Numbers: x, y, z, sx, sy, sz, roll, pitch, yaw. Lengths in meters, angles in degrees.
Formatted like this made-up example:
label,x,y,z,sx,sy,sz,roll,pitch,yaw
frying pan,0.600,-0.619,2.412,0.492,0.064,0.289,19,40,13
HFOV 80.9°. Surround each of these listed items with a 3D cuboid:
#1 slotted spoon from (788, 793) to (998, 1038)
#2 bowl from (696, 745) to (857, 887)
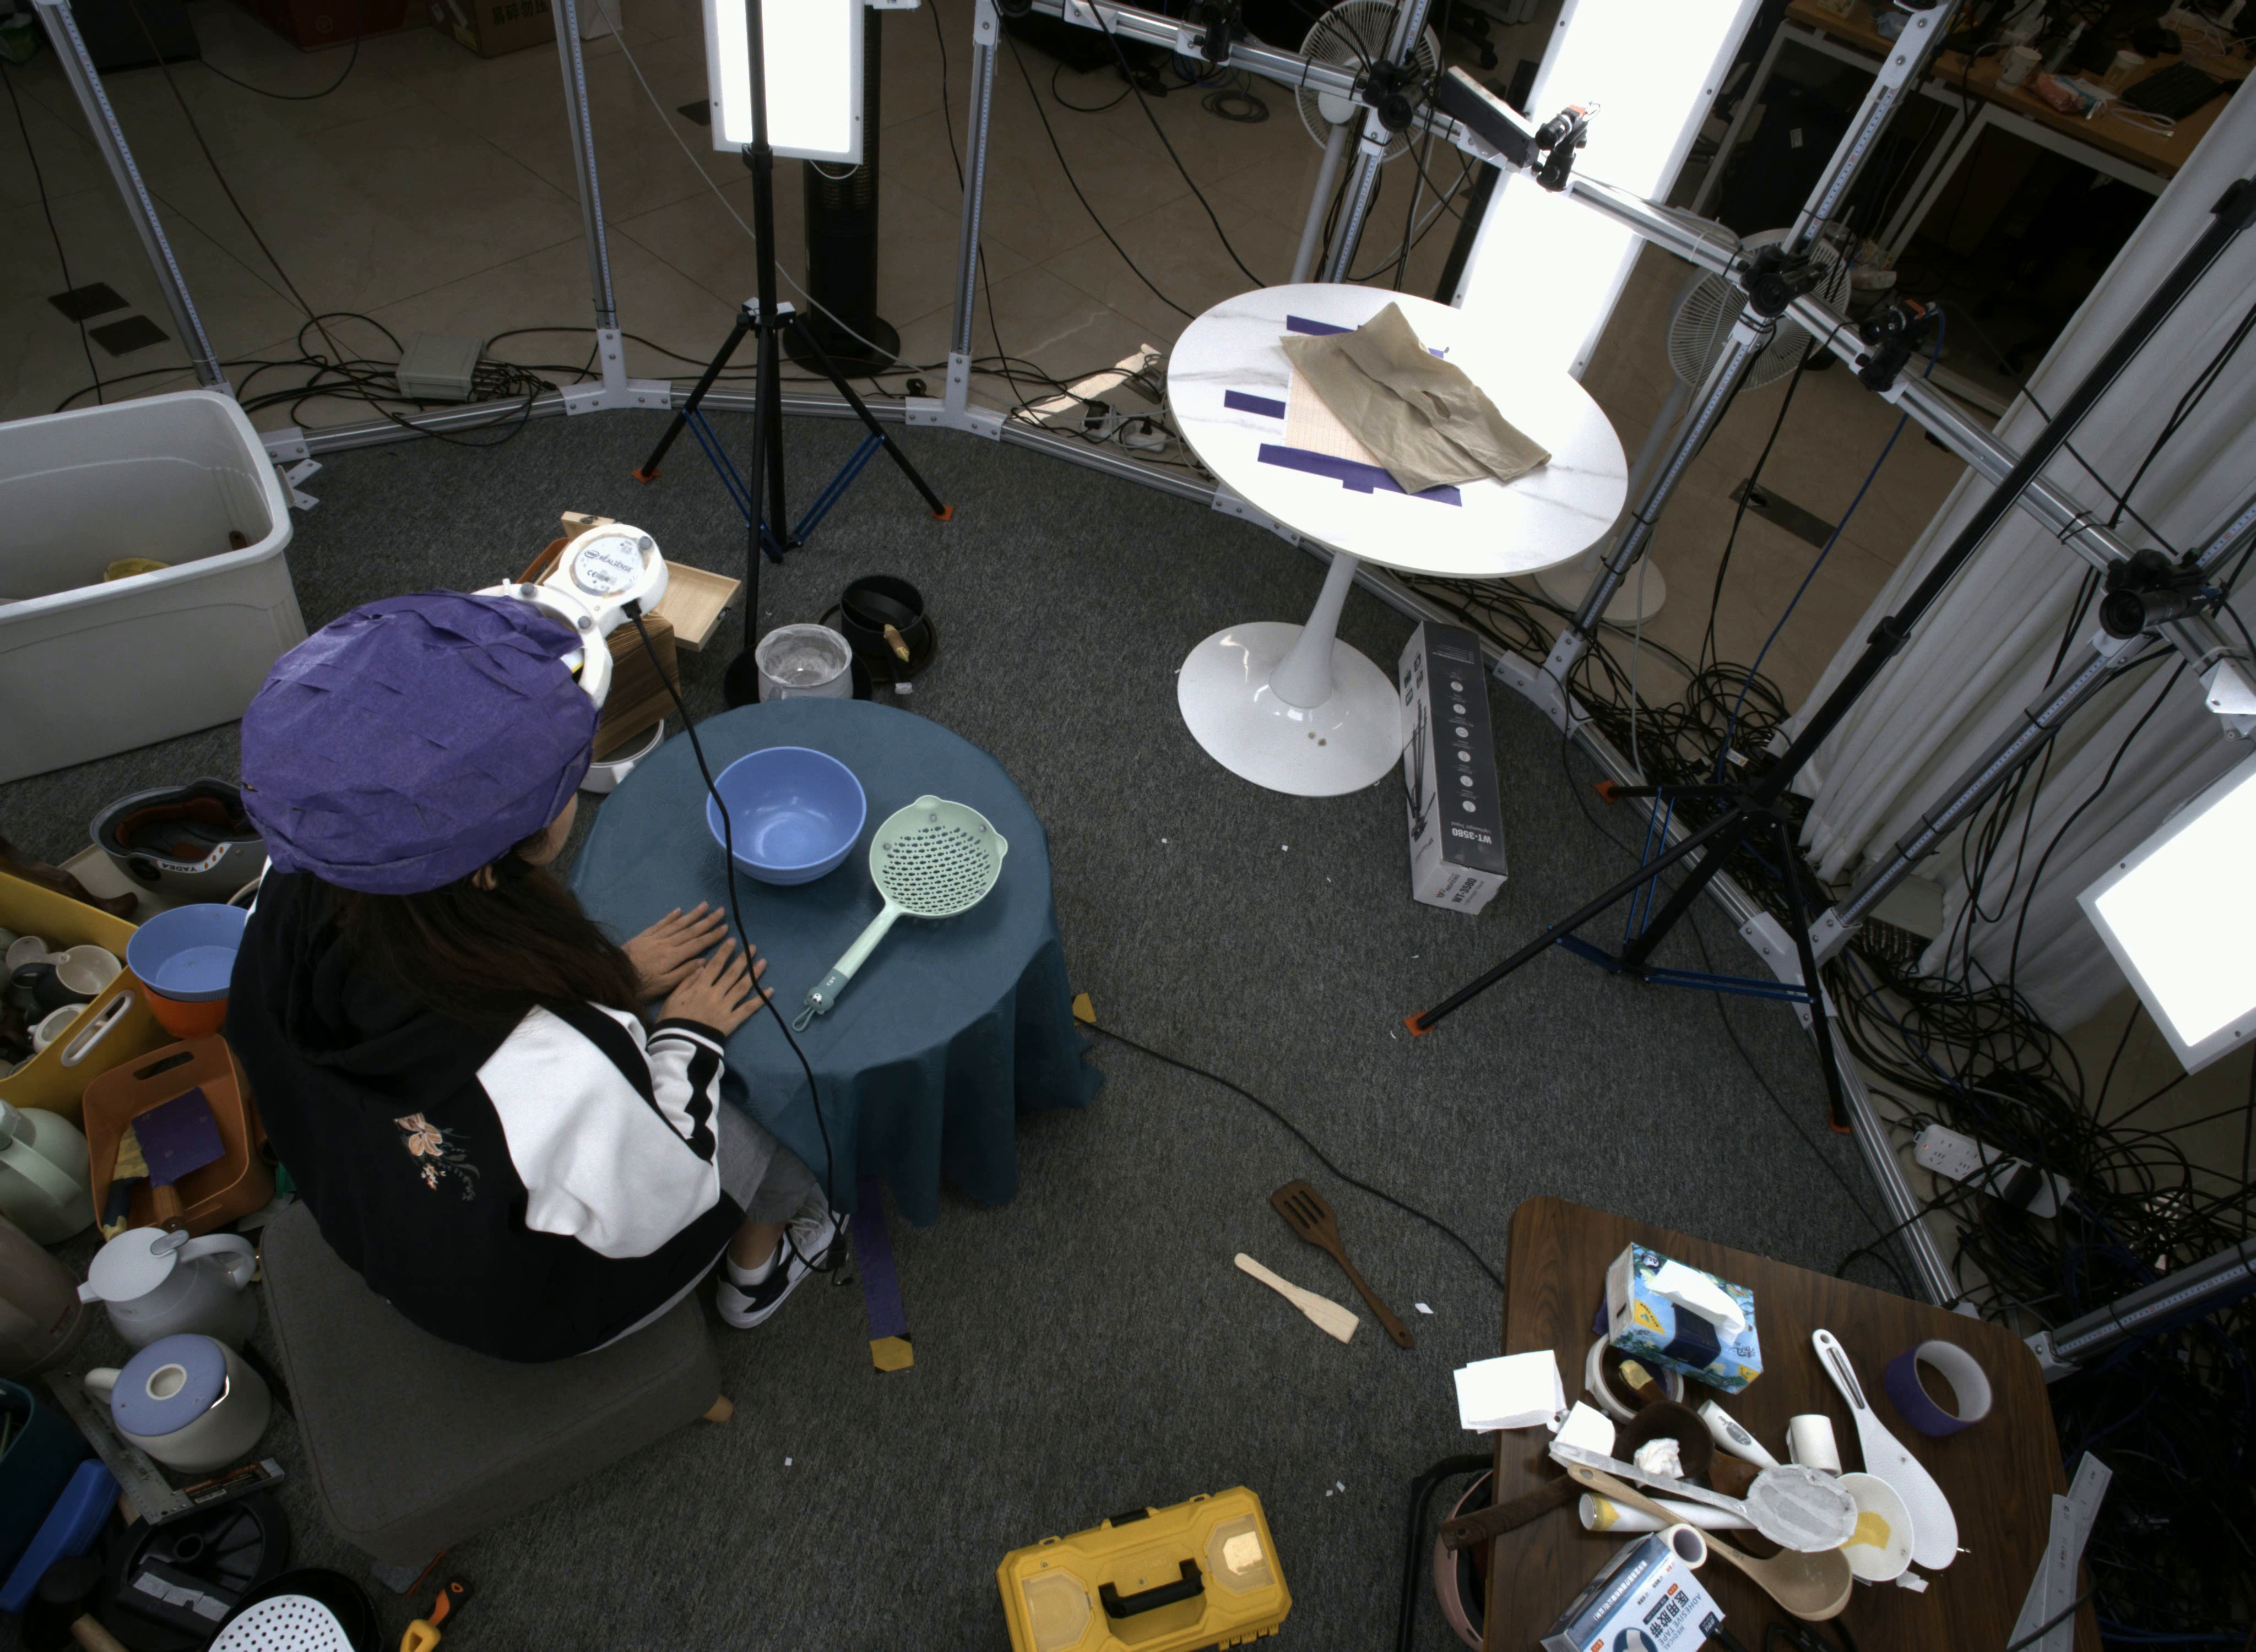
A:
label,x,y,z,sx,sy,sz,roll,pitch,yaw
slotted spoon,-0.308,0.113,1.628,0.166,0.077,0.358,30,54,10
bowl,-0.445,0.003,1.650,0.196,0.097,0.193,8,53,-9
